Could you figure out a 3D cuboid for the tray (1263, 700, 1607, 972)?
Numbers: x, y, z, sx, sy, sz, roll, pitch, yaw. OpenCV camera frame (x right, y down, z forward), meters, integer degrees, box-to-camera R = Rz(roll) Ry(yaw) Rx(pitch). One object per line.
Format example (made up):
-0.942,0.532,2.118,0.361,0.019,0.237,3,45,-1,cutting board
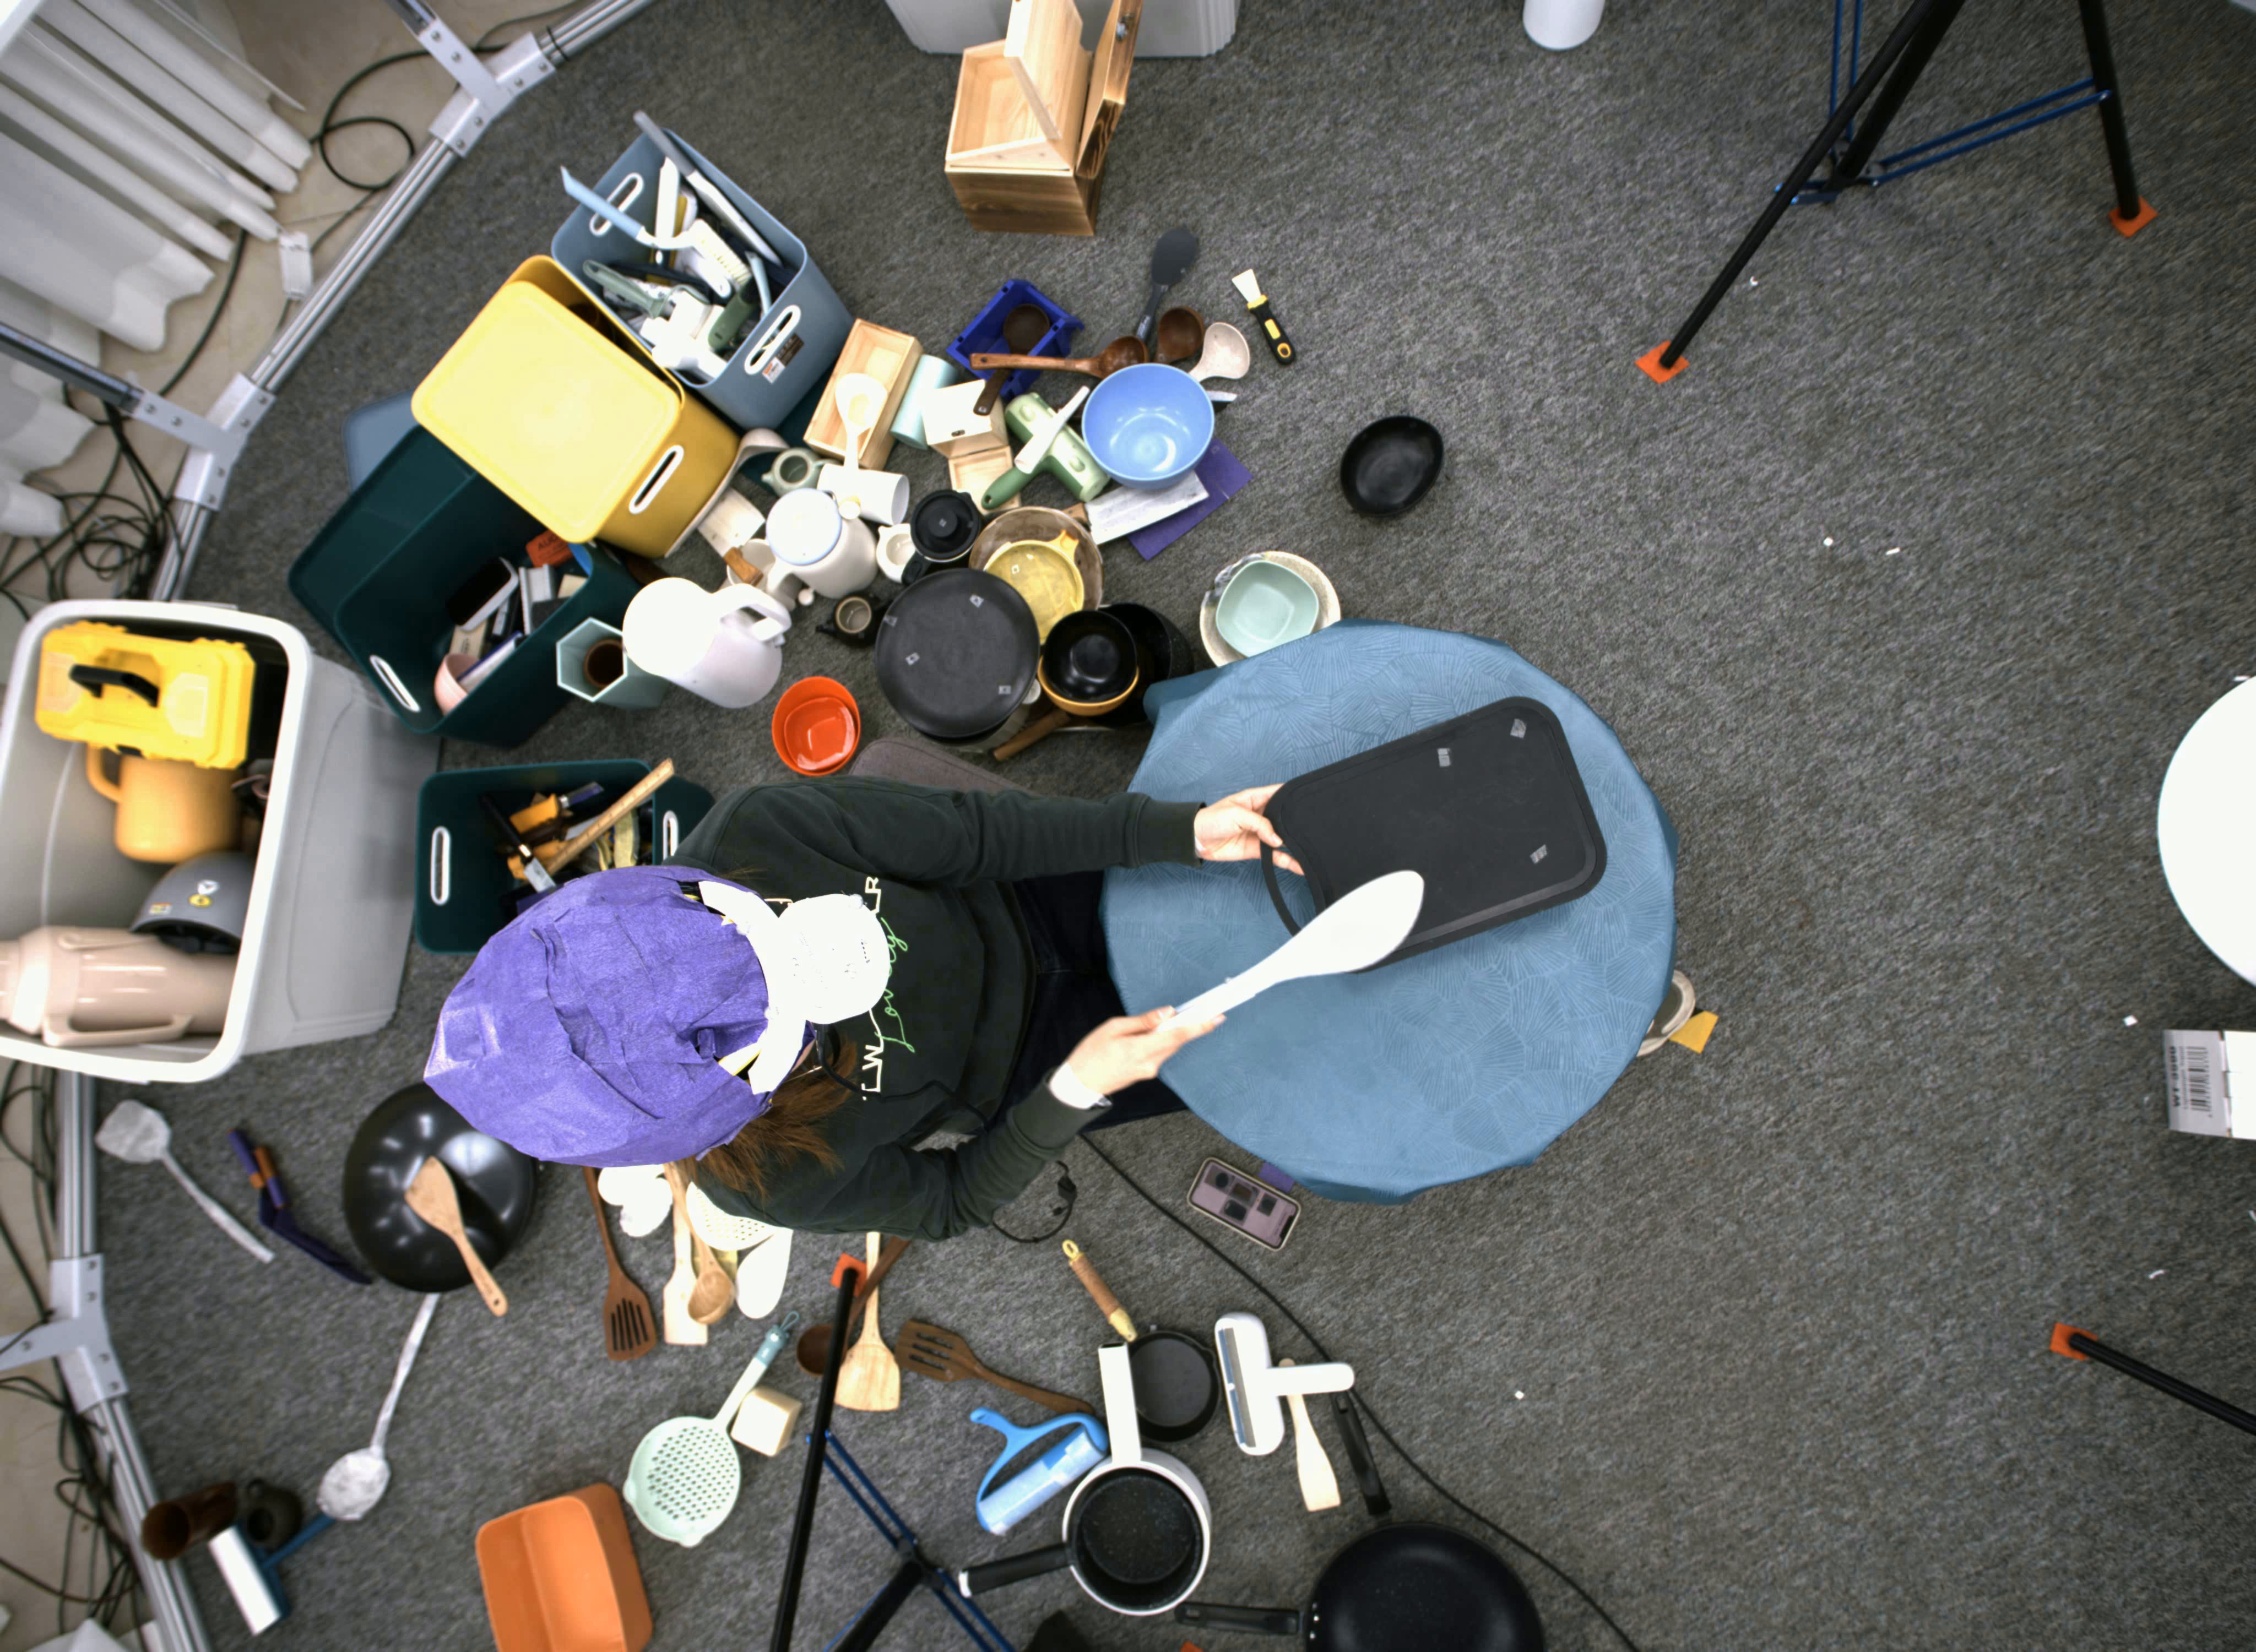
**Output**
0.297,0.015,1.370,0.328,0.009,0.211,-20,95,12,tray

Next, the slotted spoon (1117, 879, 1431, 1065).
0.132,0.143,1.297,0.354,0.133,0.046,-26,100,23,slotted spoon
